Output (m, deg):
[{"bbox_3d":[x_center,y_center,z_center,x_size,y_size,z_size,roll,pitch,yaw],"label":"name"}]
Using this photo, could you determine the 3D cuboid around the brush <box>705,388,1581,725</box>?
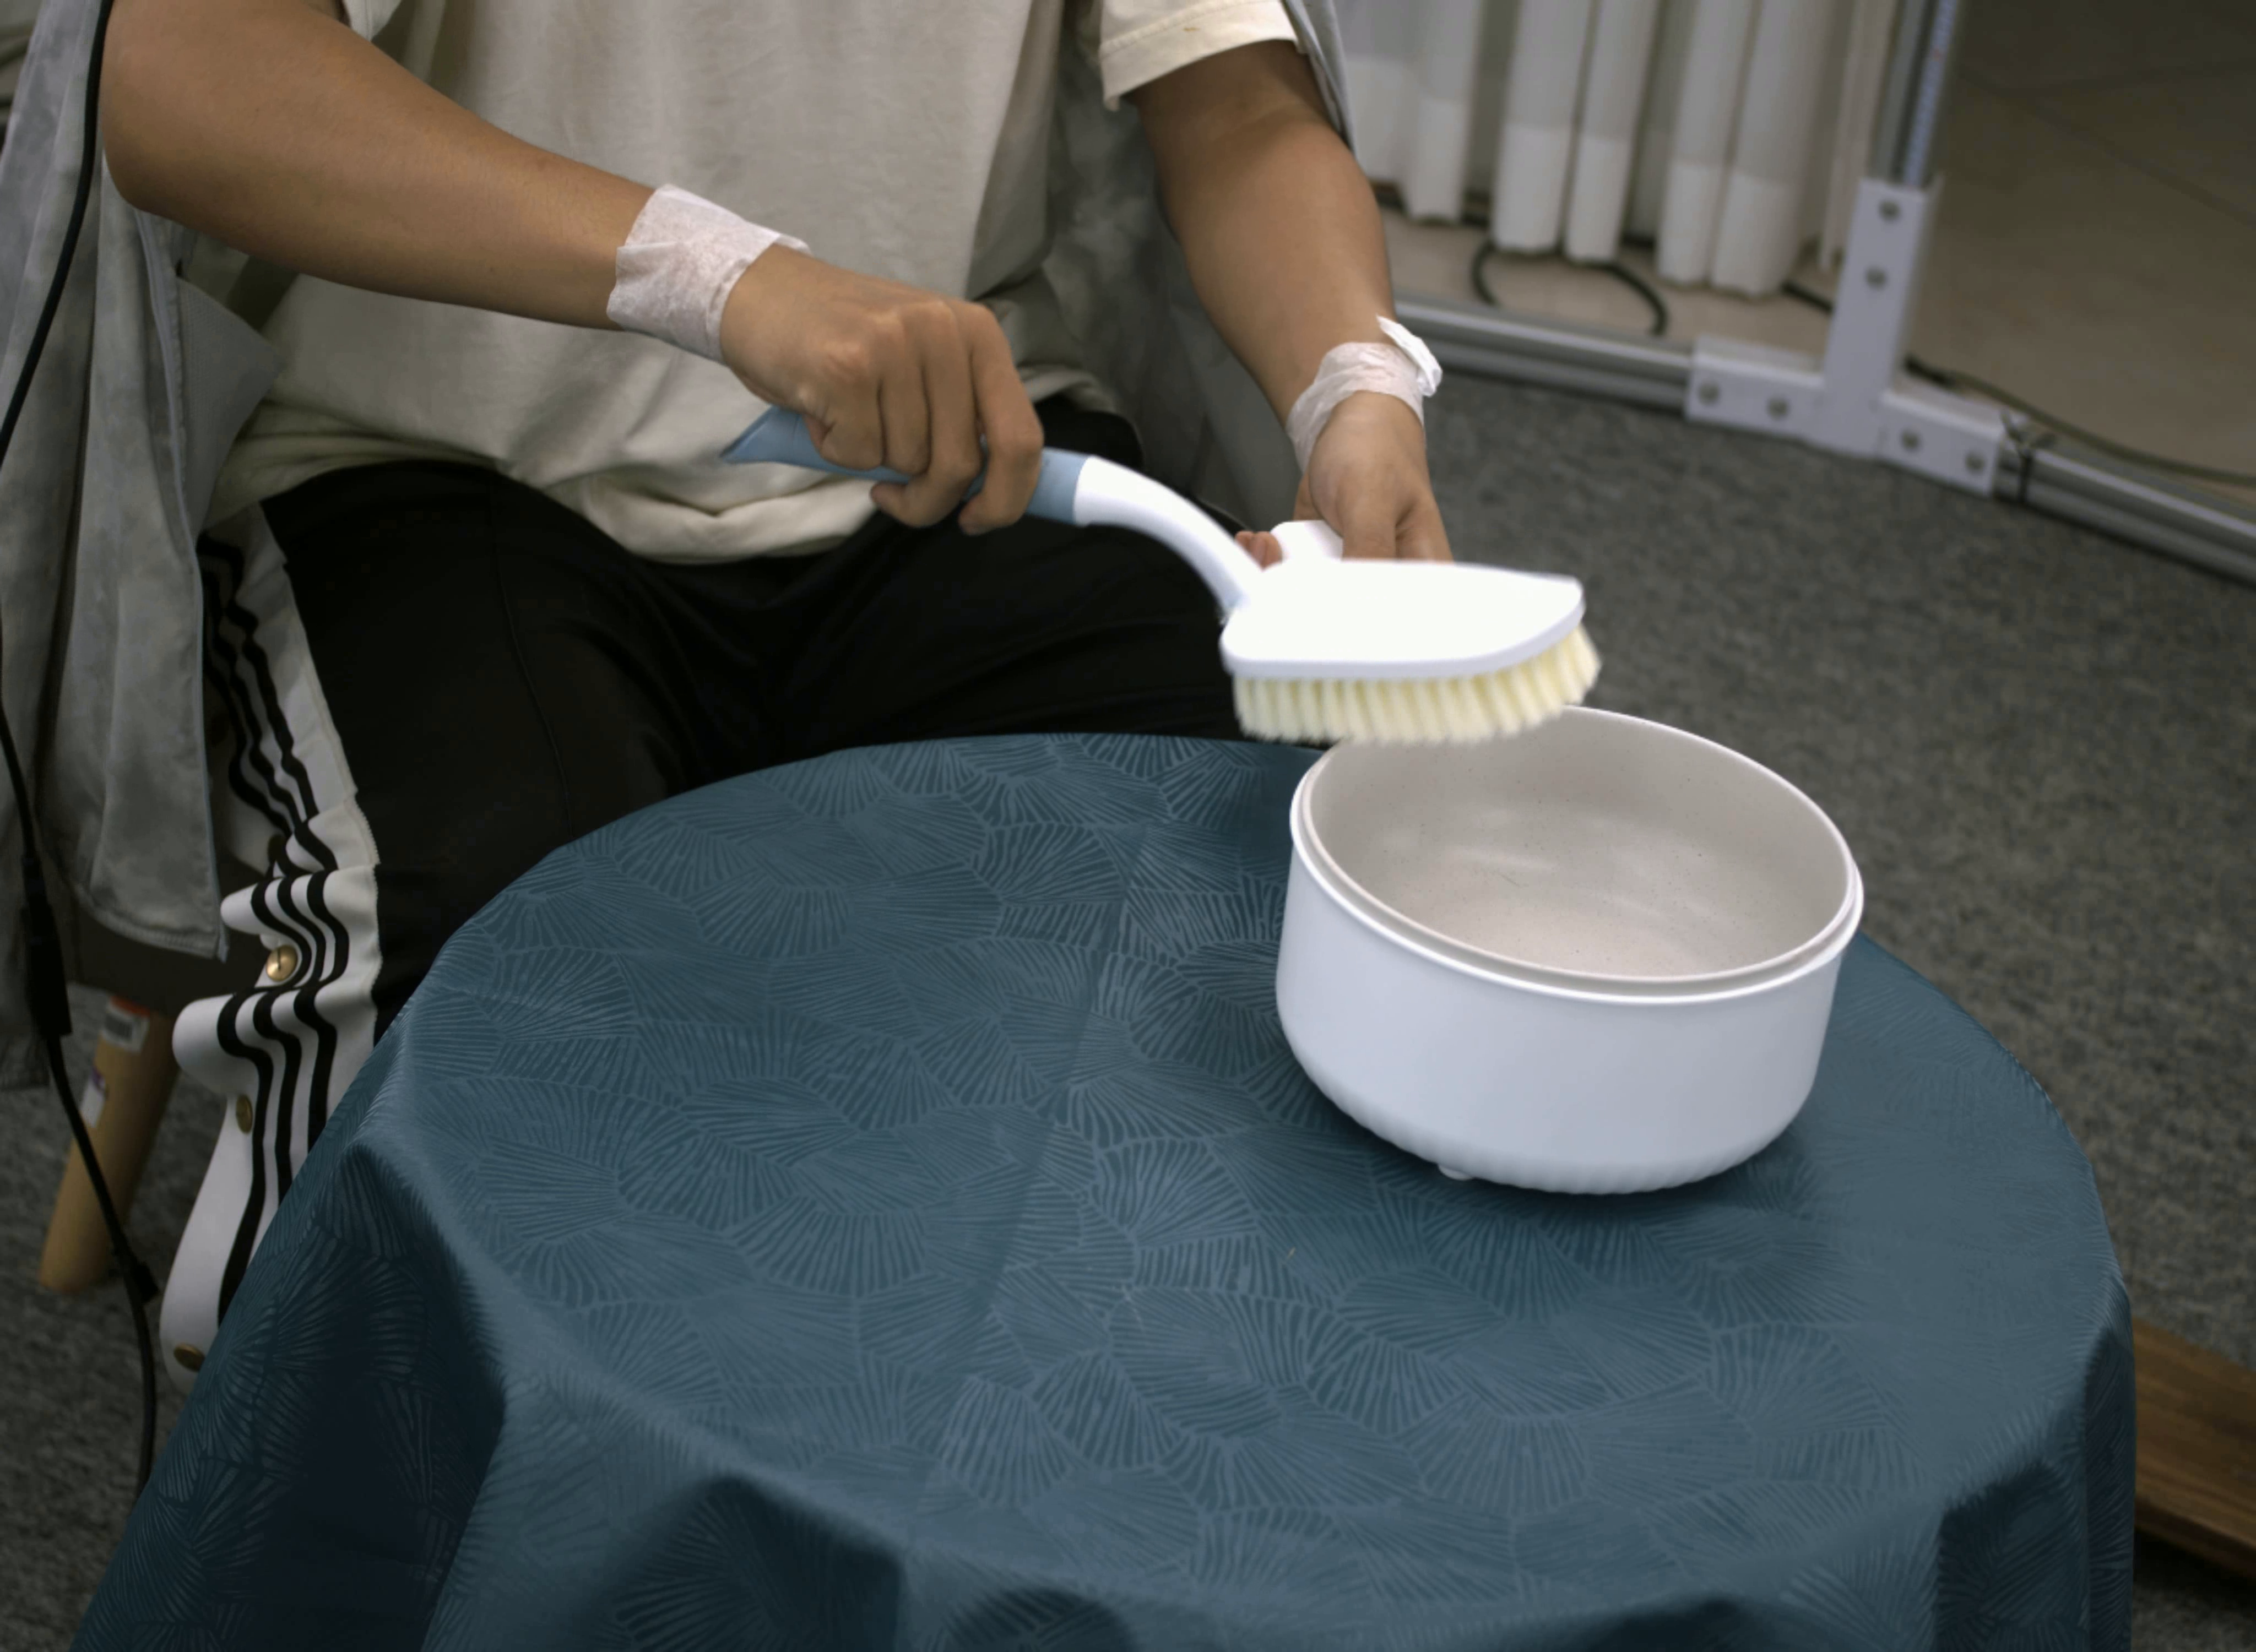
[{"bbox_3d":[0.003,-0.088,1.919,0.325,0.085,0.083,11,-1,12],"label":"brush"}]

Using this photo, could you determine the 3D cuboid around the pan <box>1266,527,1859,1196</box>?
[{"bbox_3d":[0.124,0.011,1.937,0.200,0.102,0.358,-4,30,-20],"label":"pan"}]
